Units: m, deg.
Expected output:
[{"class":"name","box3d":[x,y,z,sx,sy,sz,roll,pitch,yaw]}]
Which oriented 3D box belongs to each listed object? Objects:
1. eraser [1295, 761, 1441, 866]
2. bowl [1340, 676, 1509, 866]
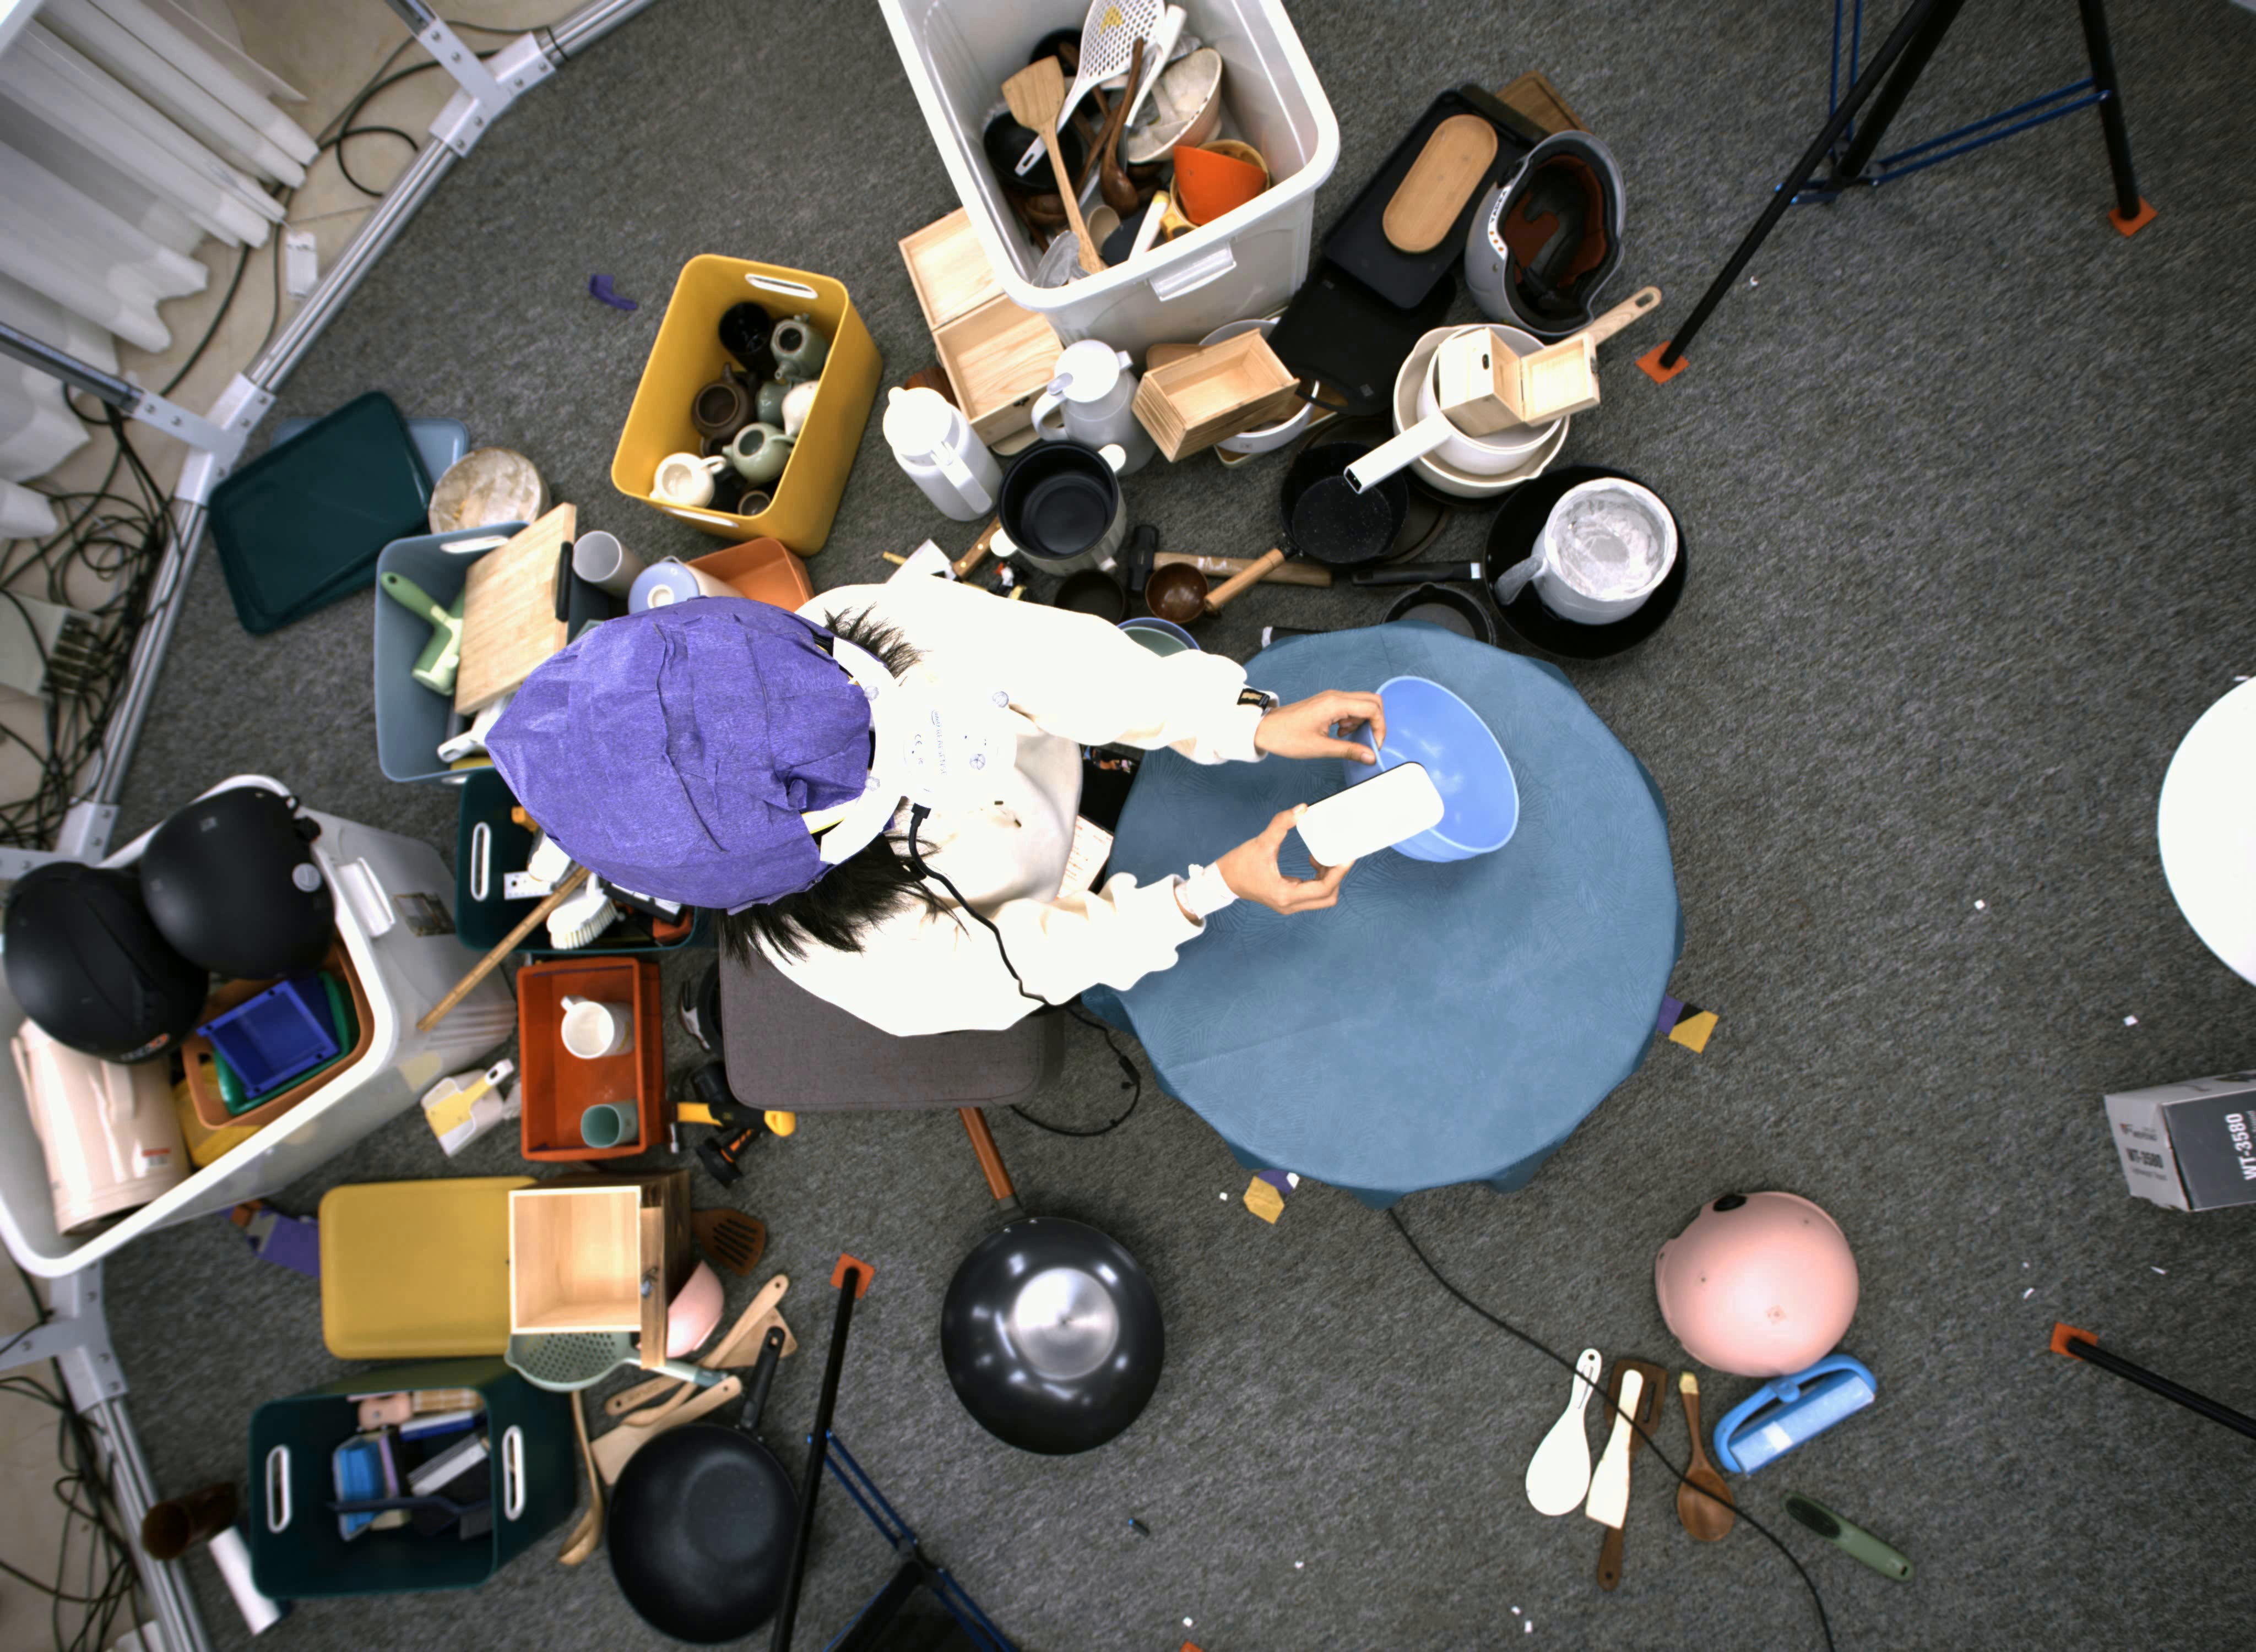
[{"class":"eraser","box3d":[0.220,-0.013,1.271,0.133,0.033,0.064,-25,111,25]},{"class":"bowl","box3d":[0.280,-0.043,1.373,0.097,0.194,0.195,-30,78,47]}]
